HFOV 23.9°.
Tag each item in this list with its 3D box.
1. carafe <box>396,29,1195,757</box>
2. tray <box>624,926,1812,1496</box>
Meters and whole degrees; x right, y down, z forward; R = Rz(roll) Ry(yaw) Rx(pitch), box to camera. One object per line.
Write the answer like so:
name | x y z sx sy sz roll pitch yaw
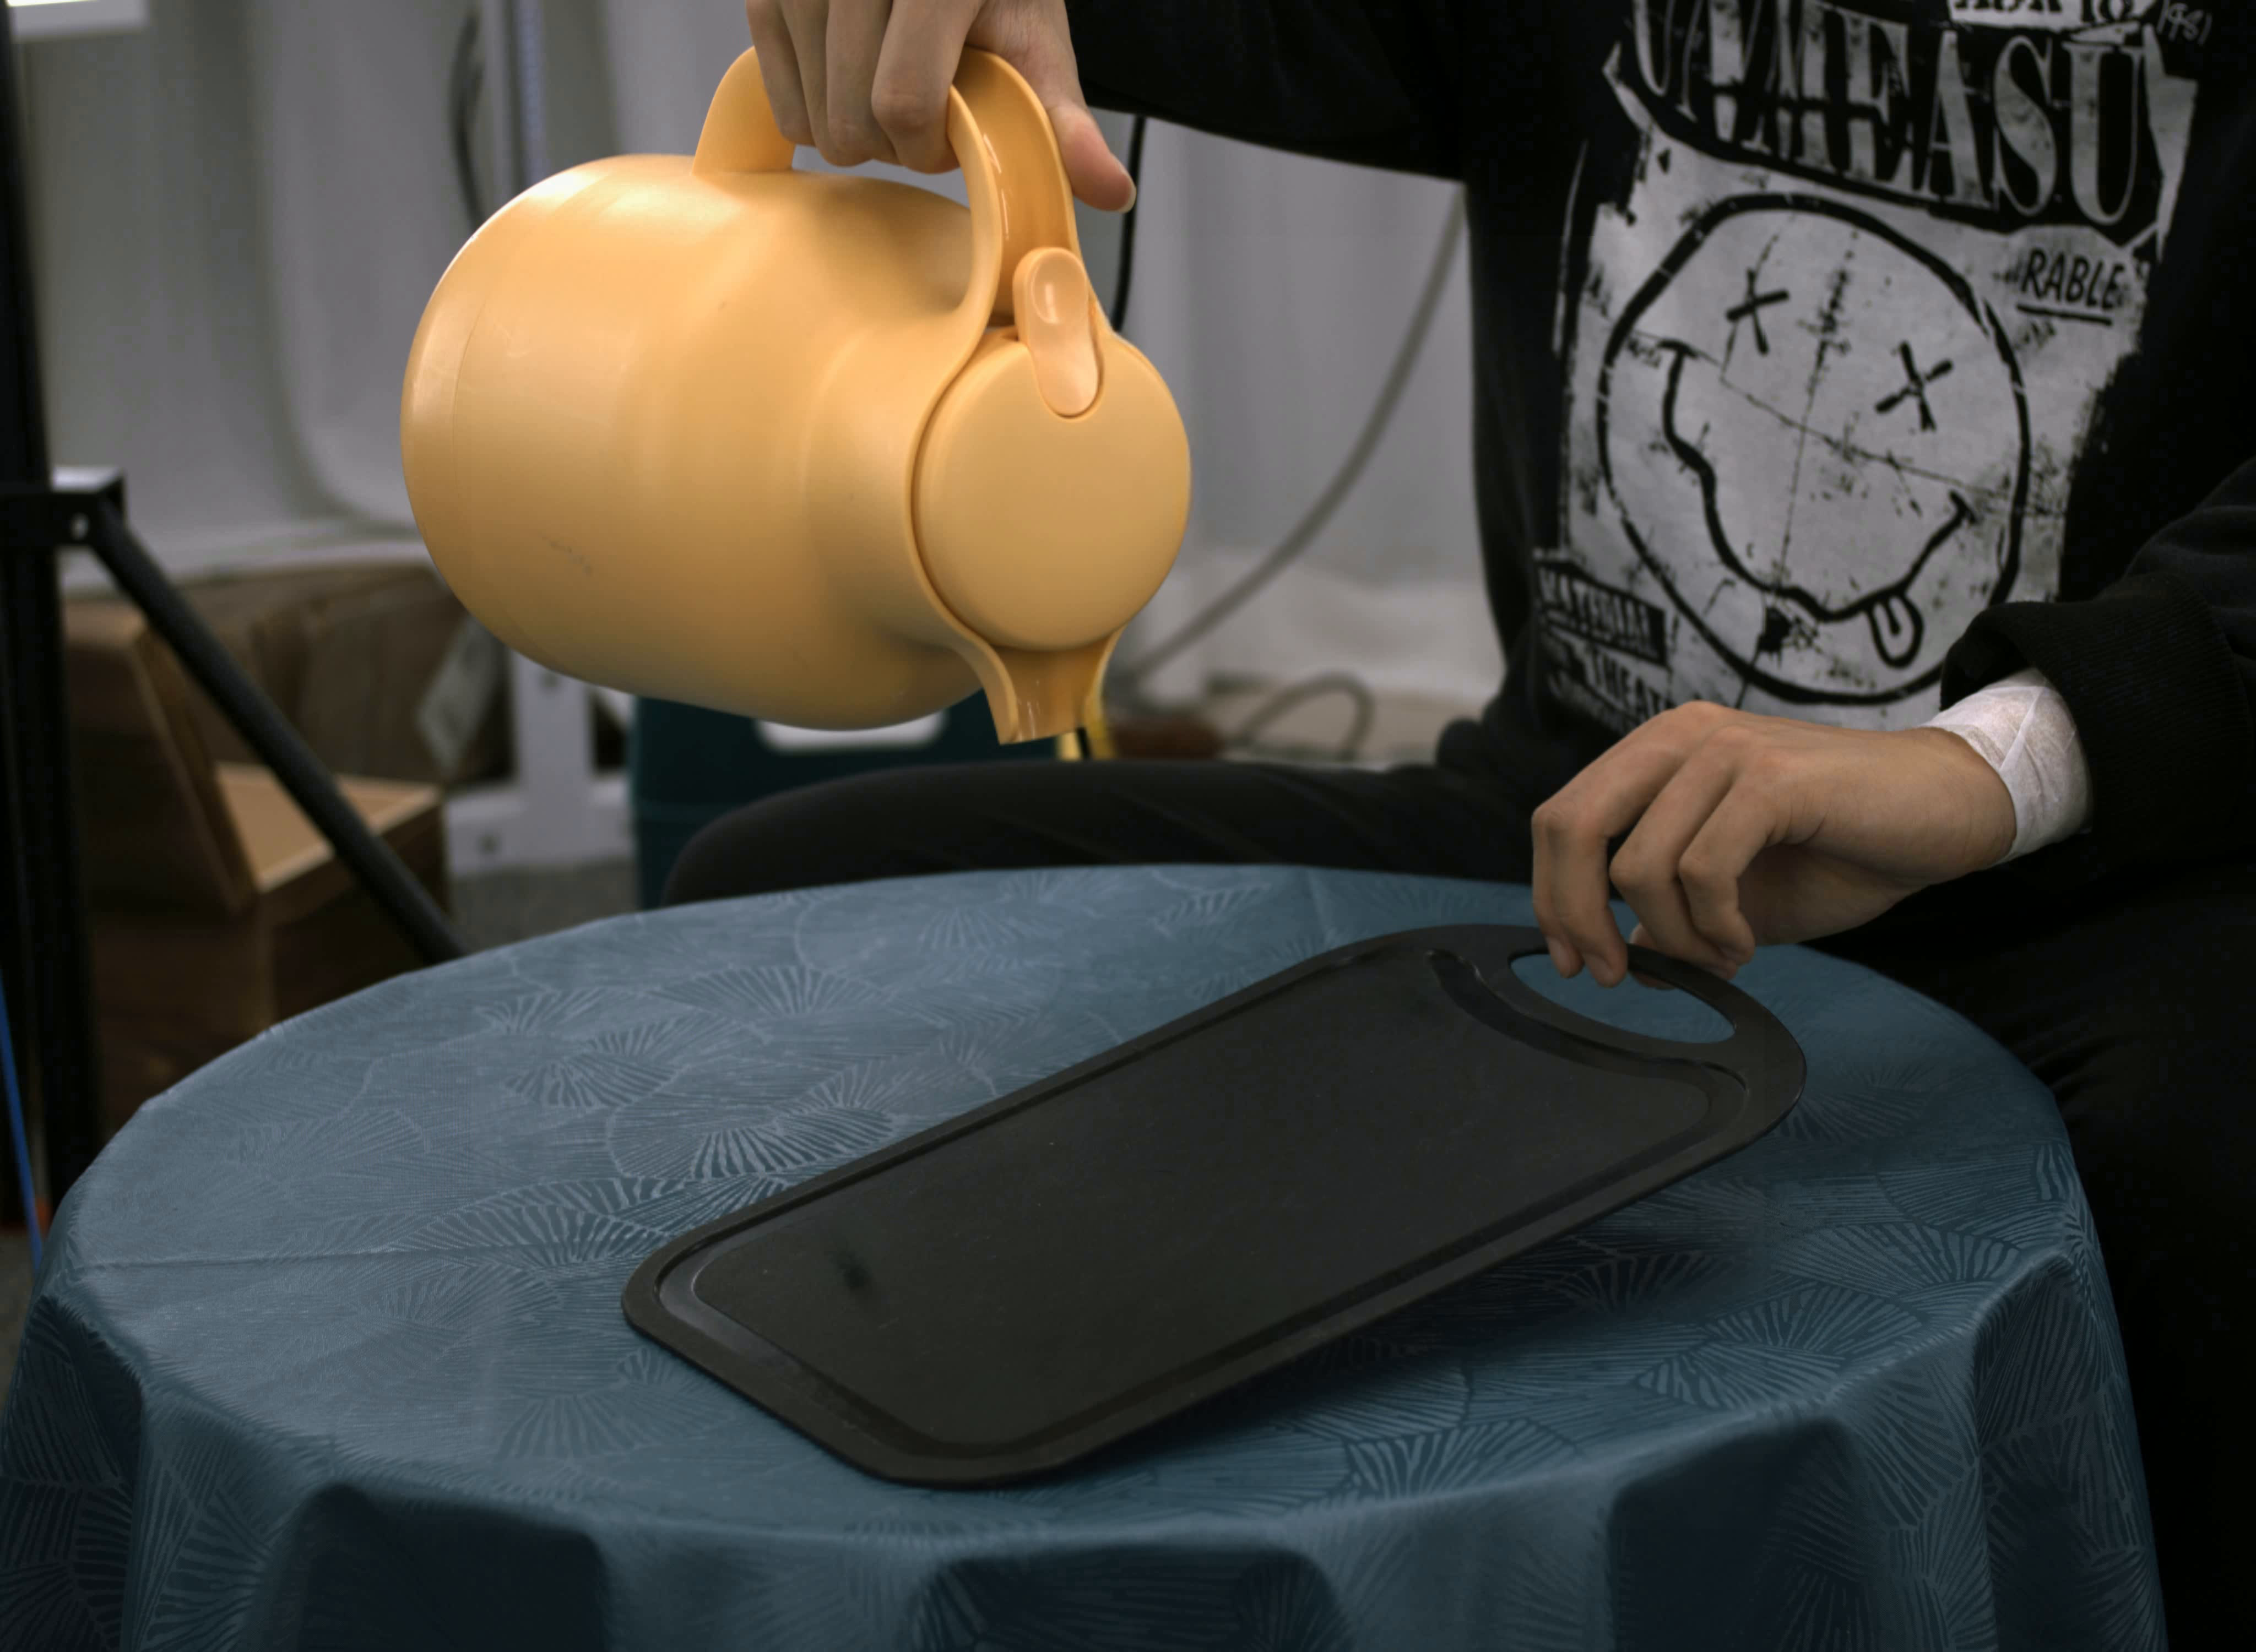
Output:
carafe | -0.088 -0.128 1.543 0.159 0.203 0.266 -7 13 -37
tray | 0.031 0.096 1.480 0.320 0.010 0.216 -22 24 -25
